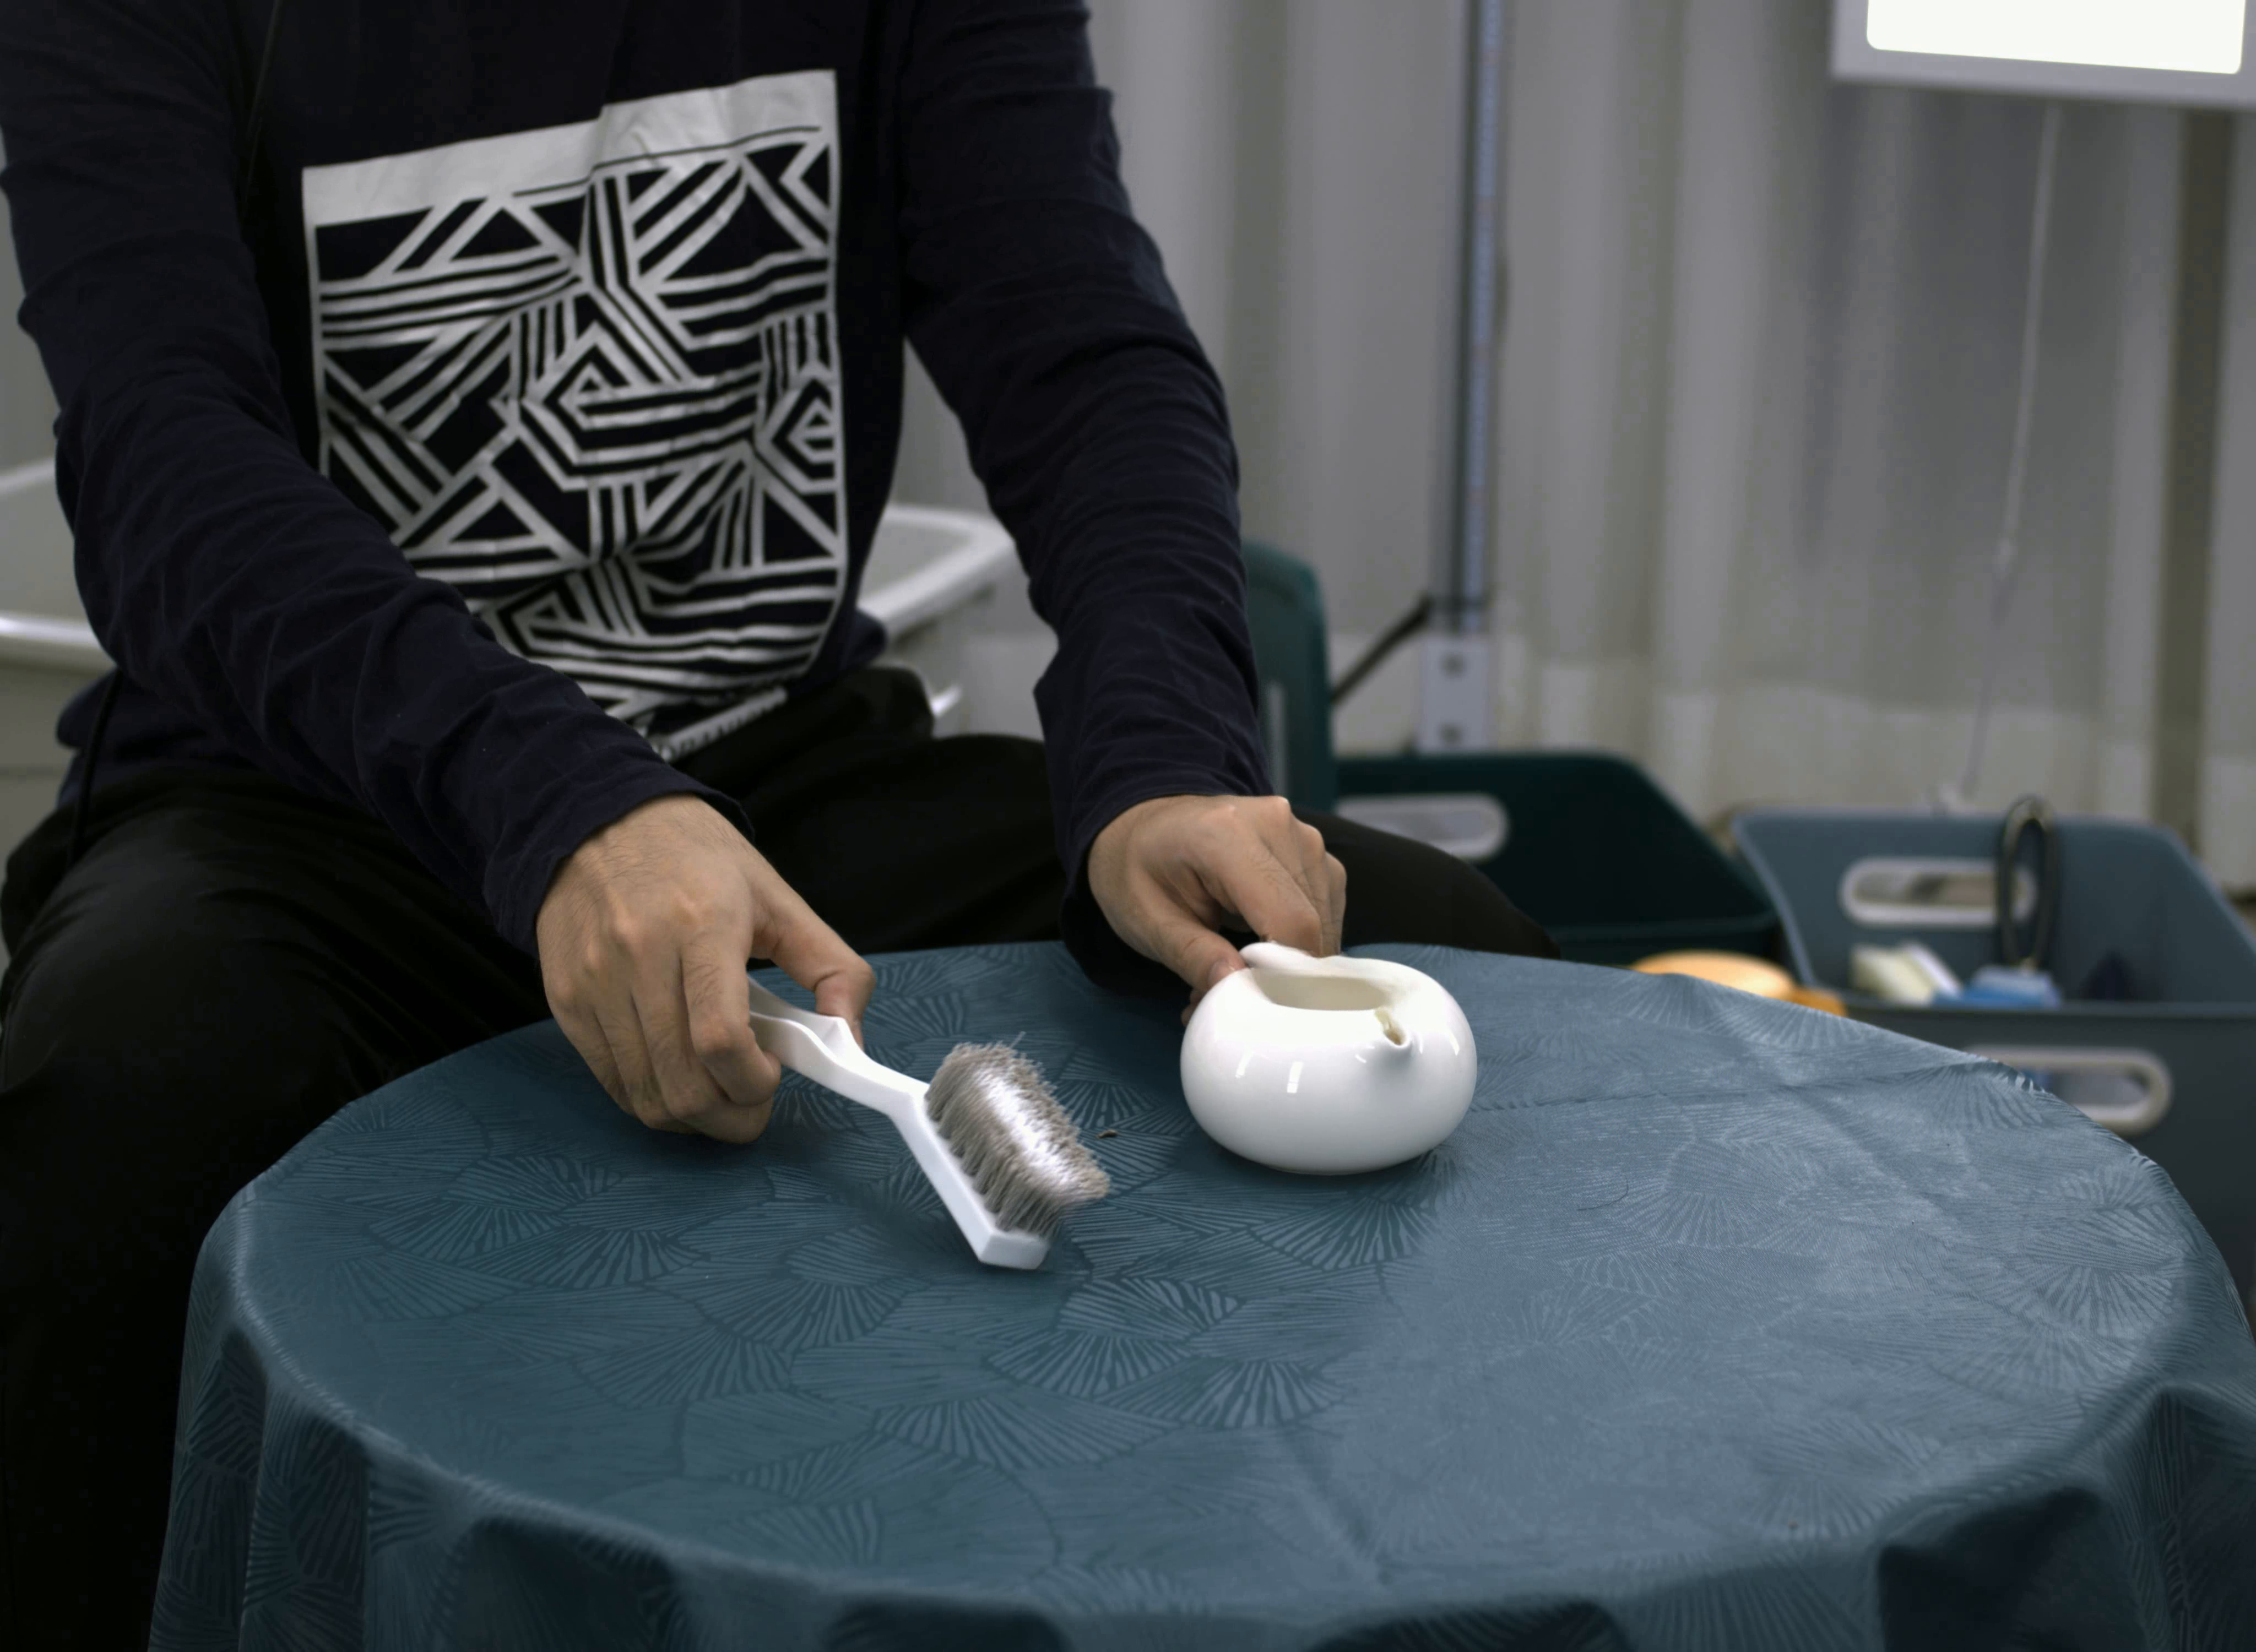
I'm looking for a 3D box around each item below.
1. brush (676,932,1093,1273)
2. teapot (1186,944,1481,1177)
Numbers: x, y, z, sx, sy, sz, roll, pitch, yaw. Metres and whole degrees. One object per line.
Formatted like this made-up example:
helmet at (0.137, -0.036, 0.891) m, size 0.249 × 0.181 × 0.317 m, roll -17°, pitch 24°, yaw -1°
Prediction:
brush at (-0.081, 0.067, 1.631) m, size 0.034 × 0.051 × 0.240 m, roll -8°, pitch 27°, yaw -29°
teapot at (0.059, 0.073, 1.670) m, size 0.094 × 0.057 × 0.126 m, roll -12°, pitch 18°, yaw -26°
